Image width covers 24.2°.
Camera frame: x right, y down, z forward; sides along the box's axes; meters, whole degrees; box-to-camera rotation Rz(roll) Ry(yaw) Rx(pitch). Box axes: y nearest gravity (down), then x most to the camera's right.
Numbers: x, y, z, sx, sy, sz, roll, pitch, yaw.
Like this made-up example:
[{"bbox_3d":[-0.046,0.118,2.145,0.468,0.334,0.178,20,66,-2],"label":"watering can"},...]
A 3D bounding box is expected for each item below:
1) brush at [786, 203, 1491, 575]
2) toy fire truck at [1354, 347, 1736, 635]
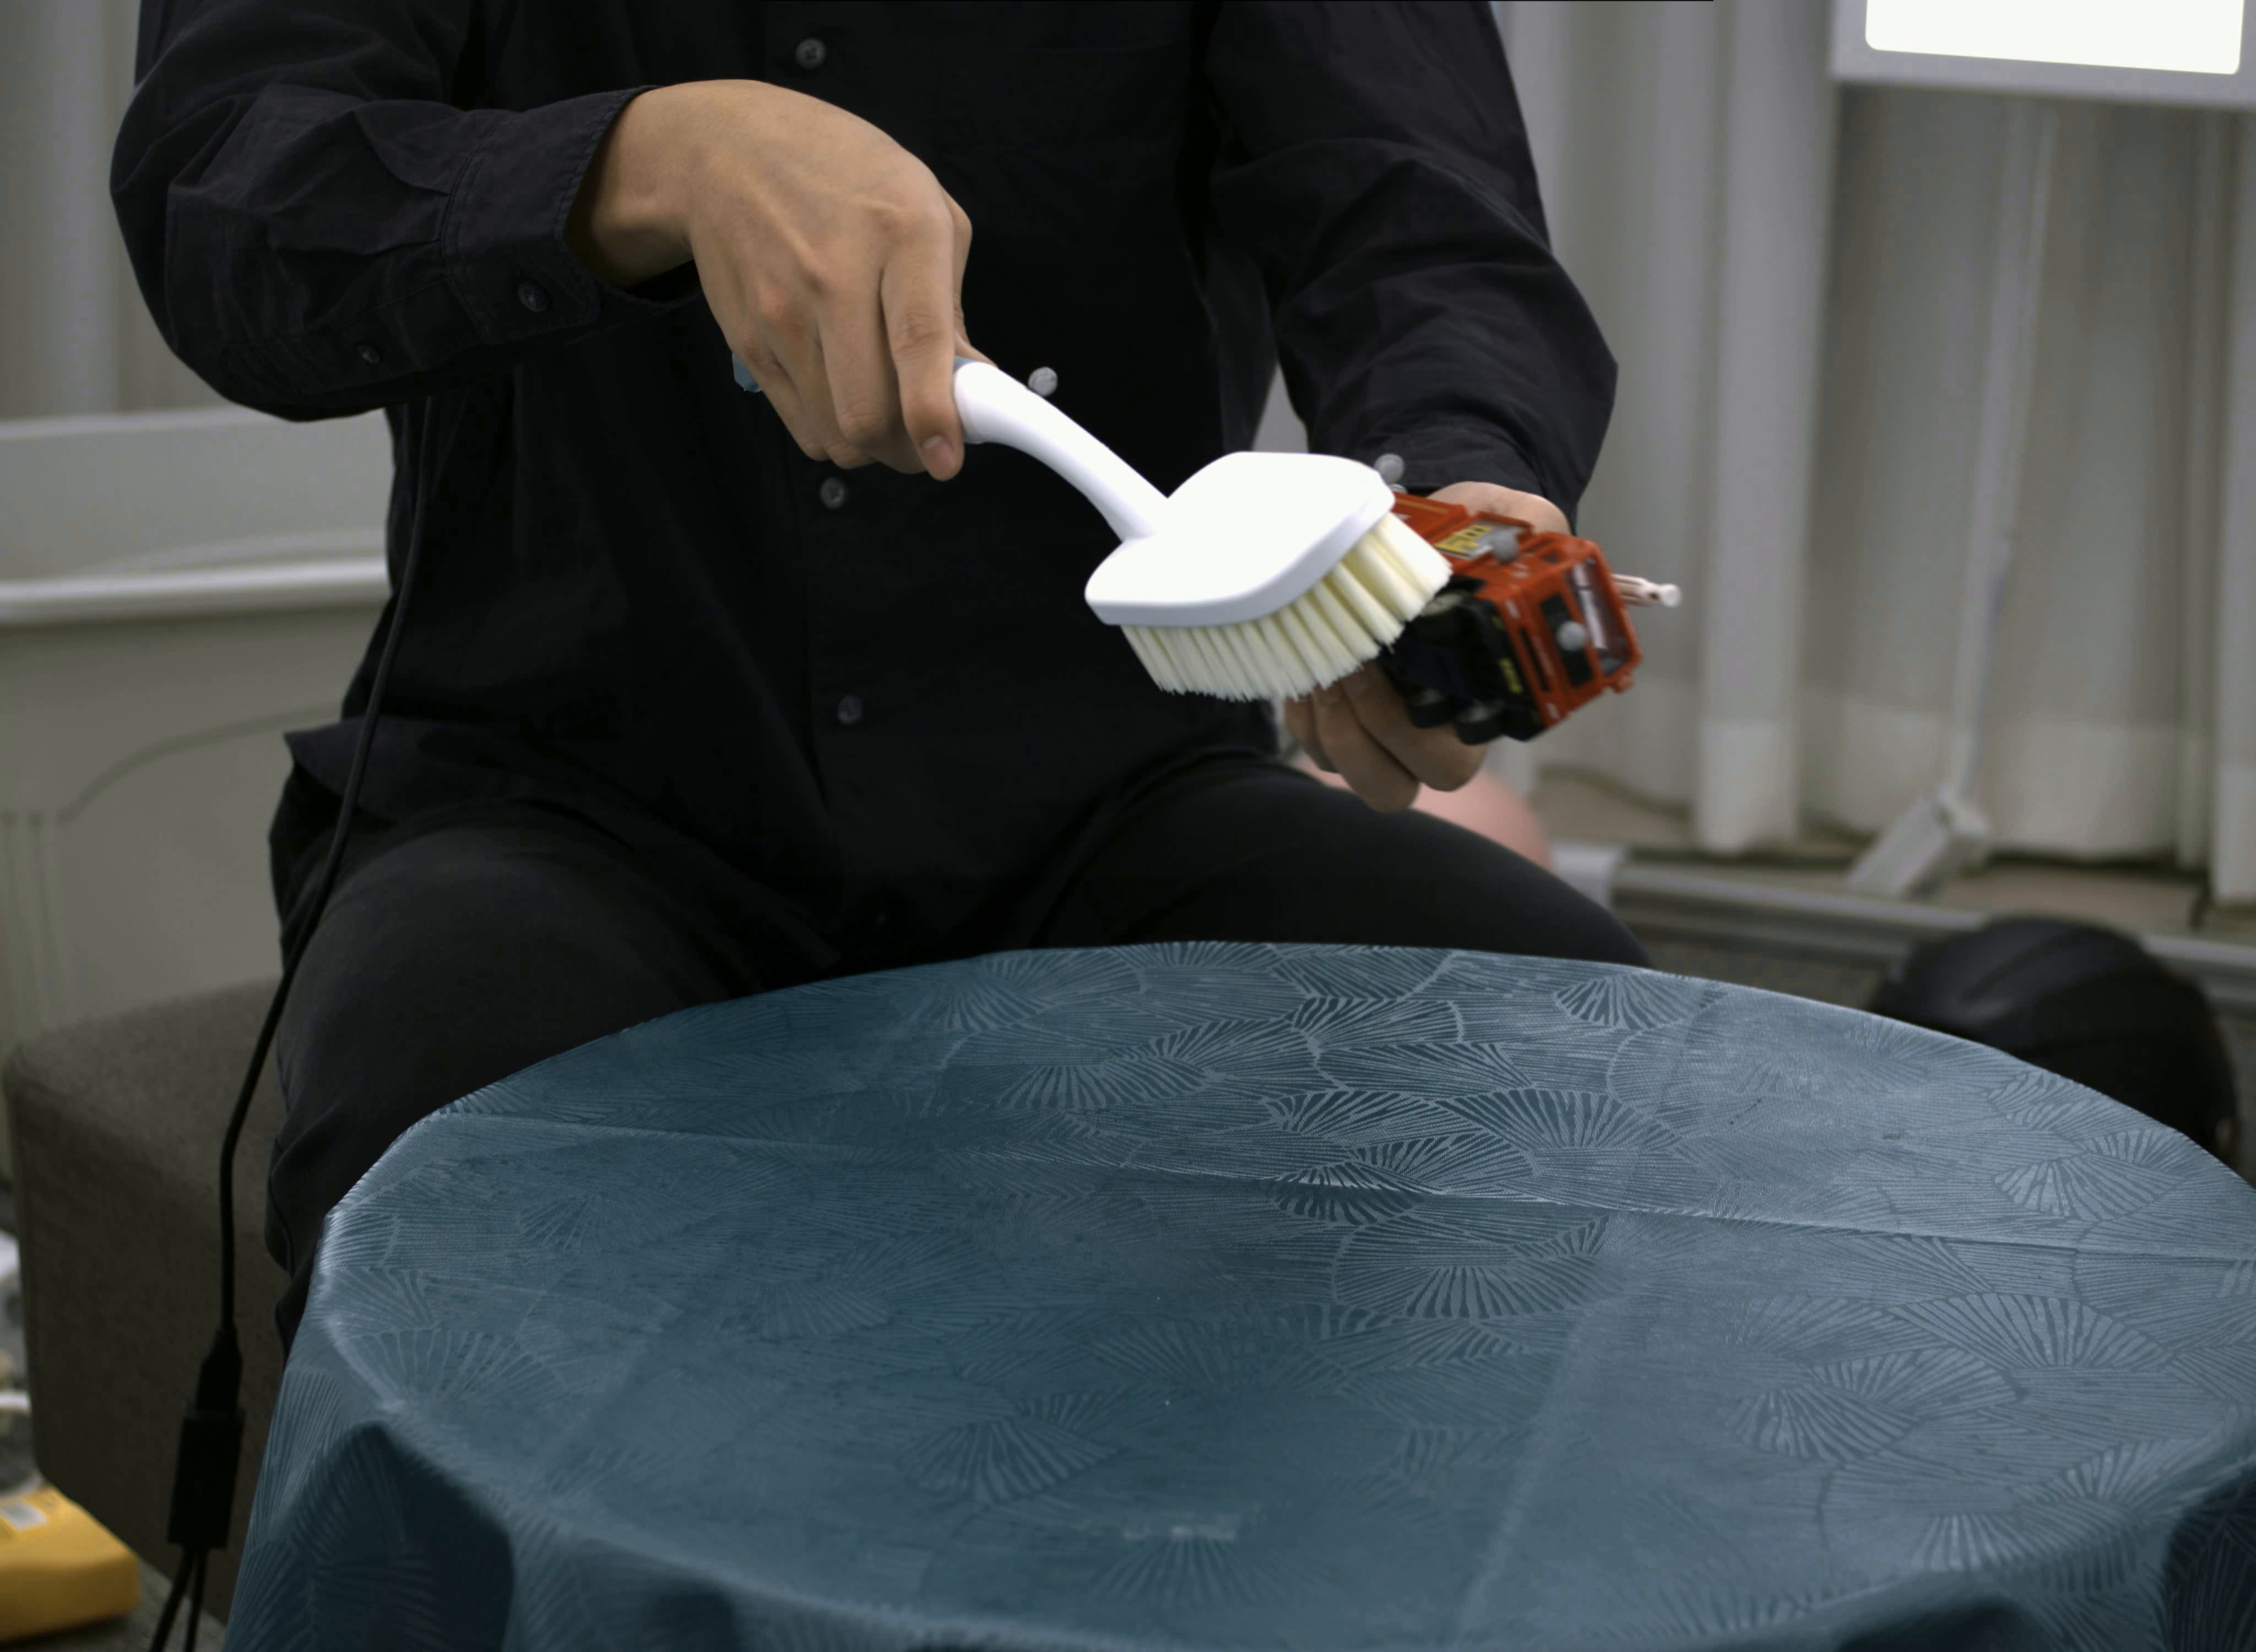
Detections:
[{"bbox_3d":[0.006,-0.132,1.605,0.083,0.085,0.321,-11,20,-34],"label":"brush"},{"bbox_3d":[0.109,-0.101,1.552,0.070,0.054,0.166,-30,21,-18],"label":"toy fire truck"}]
